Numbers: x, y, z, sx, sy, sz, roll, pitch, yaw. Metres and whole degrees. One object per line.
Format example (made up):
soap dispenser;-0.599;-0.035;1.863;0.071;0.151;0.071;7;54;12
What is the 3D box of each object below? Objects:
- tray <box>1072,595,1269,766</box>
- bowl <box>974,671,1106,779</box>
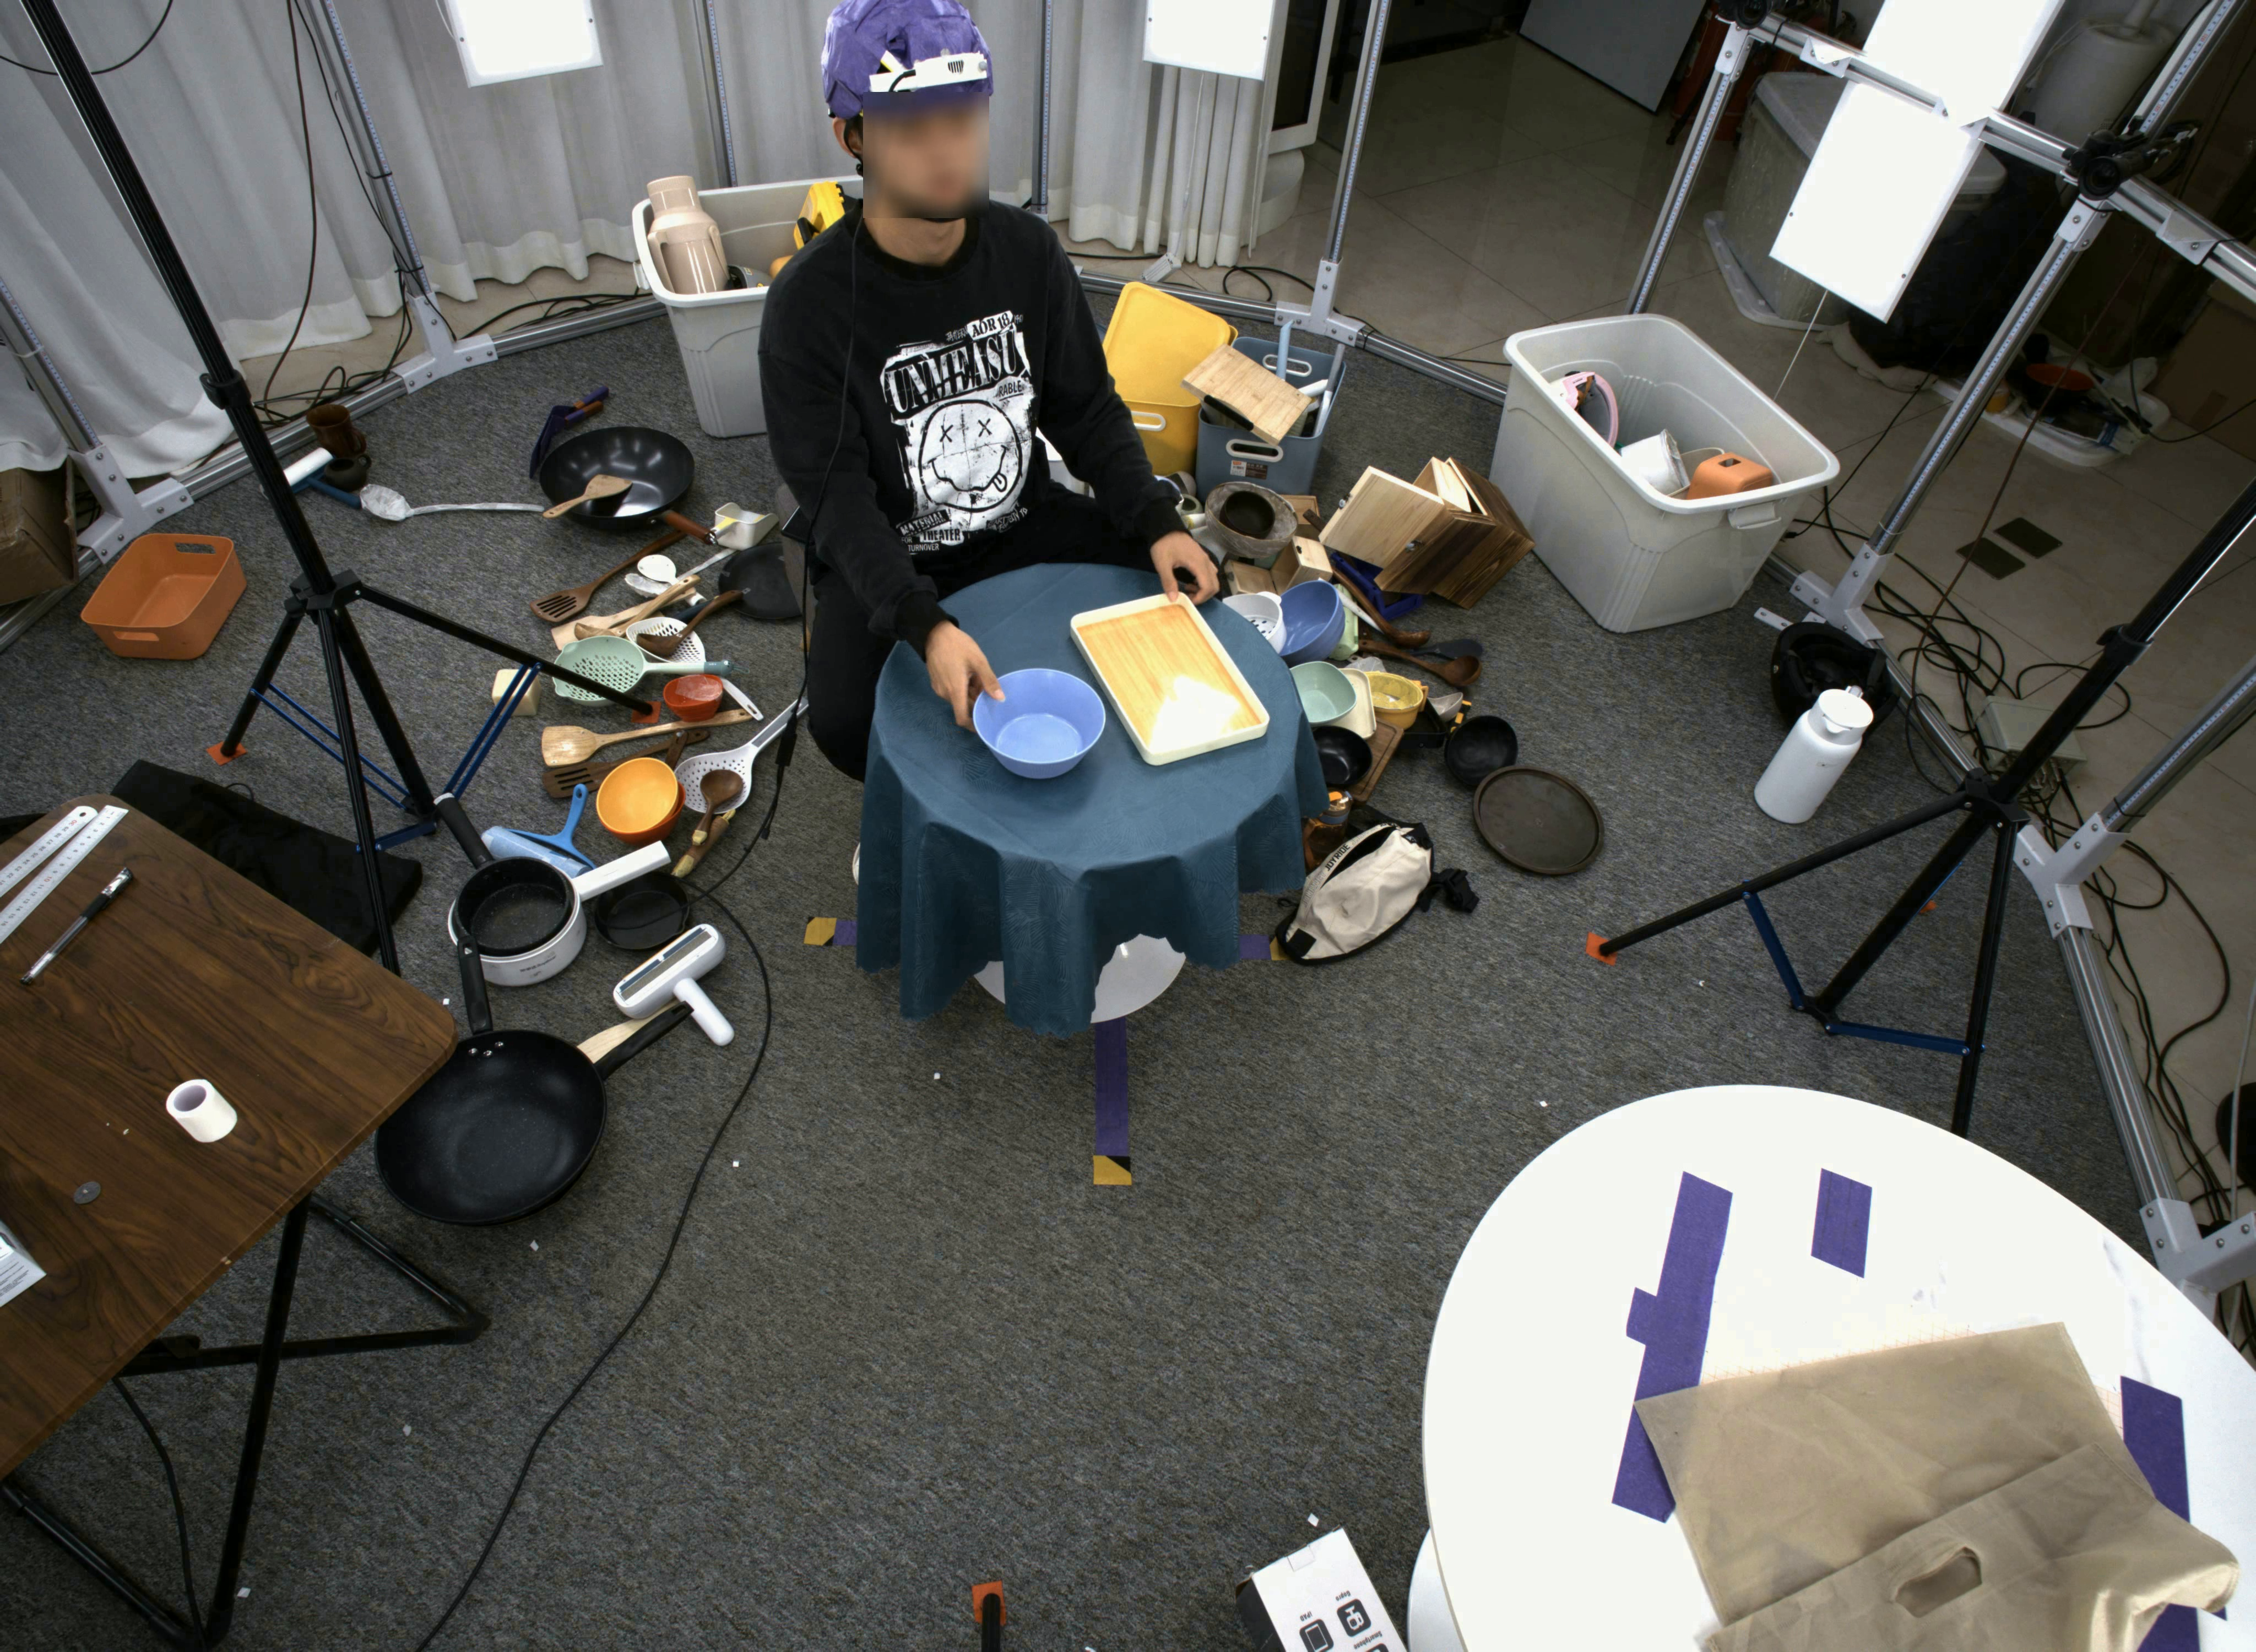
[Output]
tray;0.057;-0.217;1.861;0.192;0.027;0.307;-16;52;-18
bowl;-0.120;-0.128;1.741;0.176;0.068;0.180;3;49;-3
